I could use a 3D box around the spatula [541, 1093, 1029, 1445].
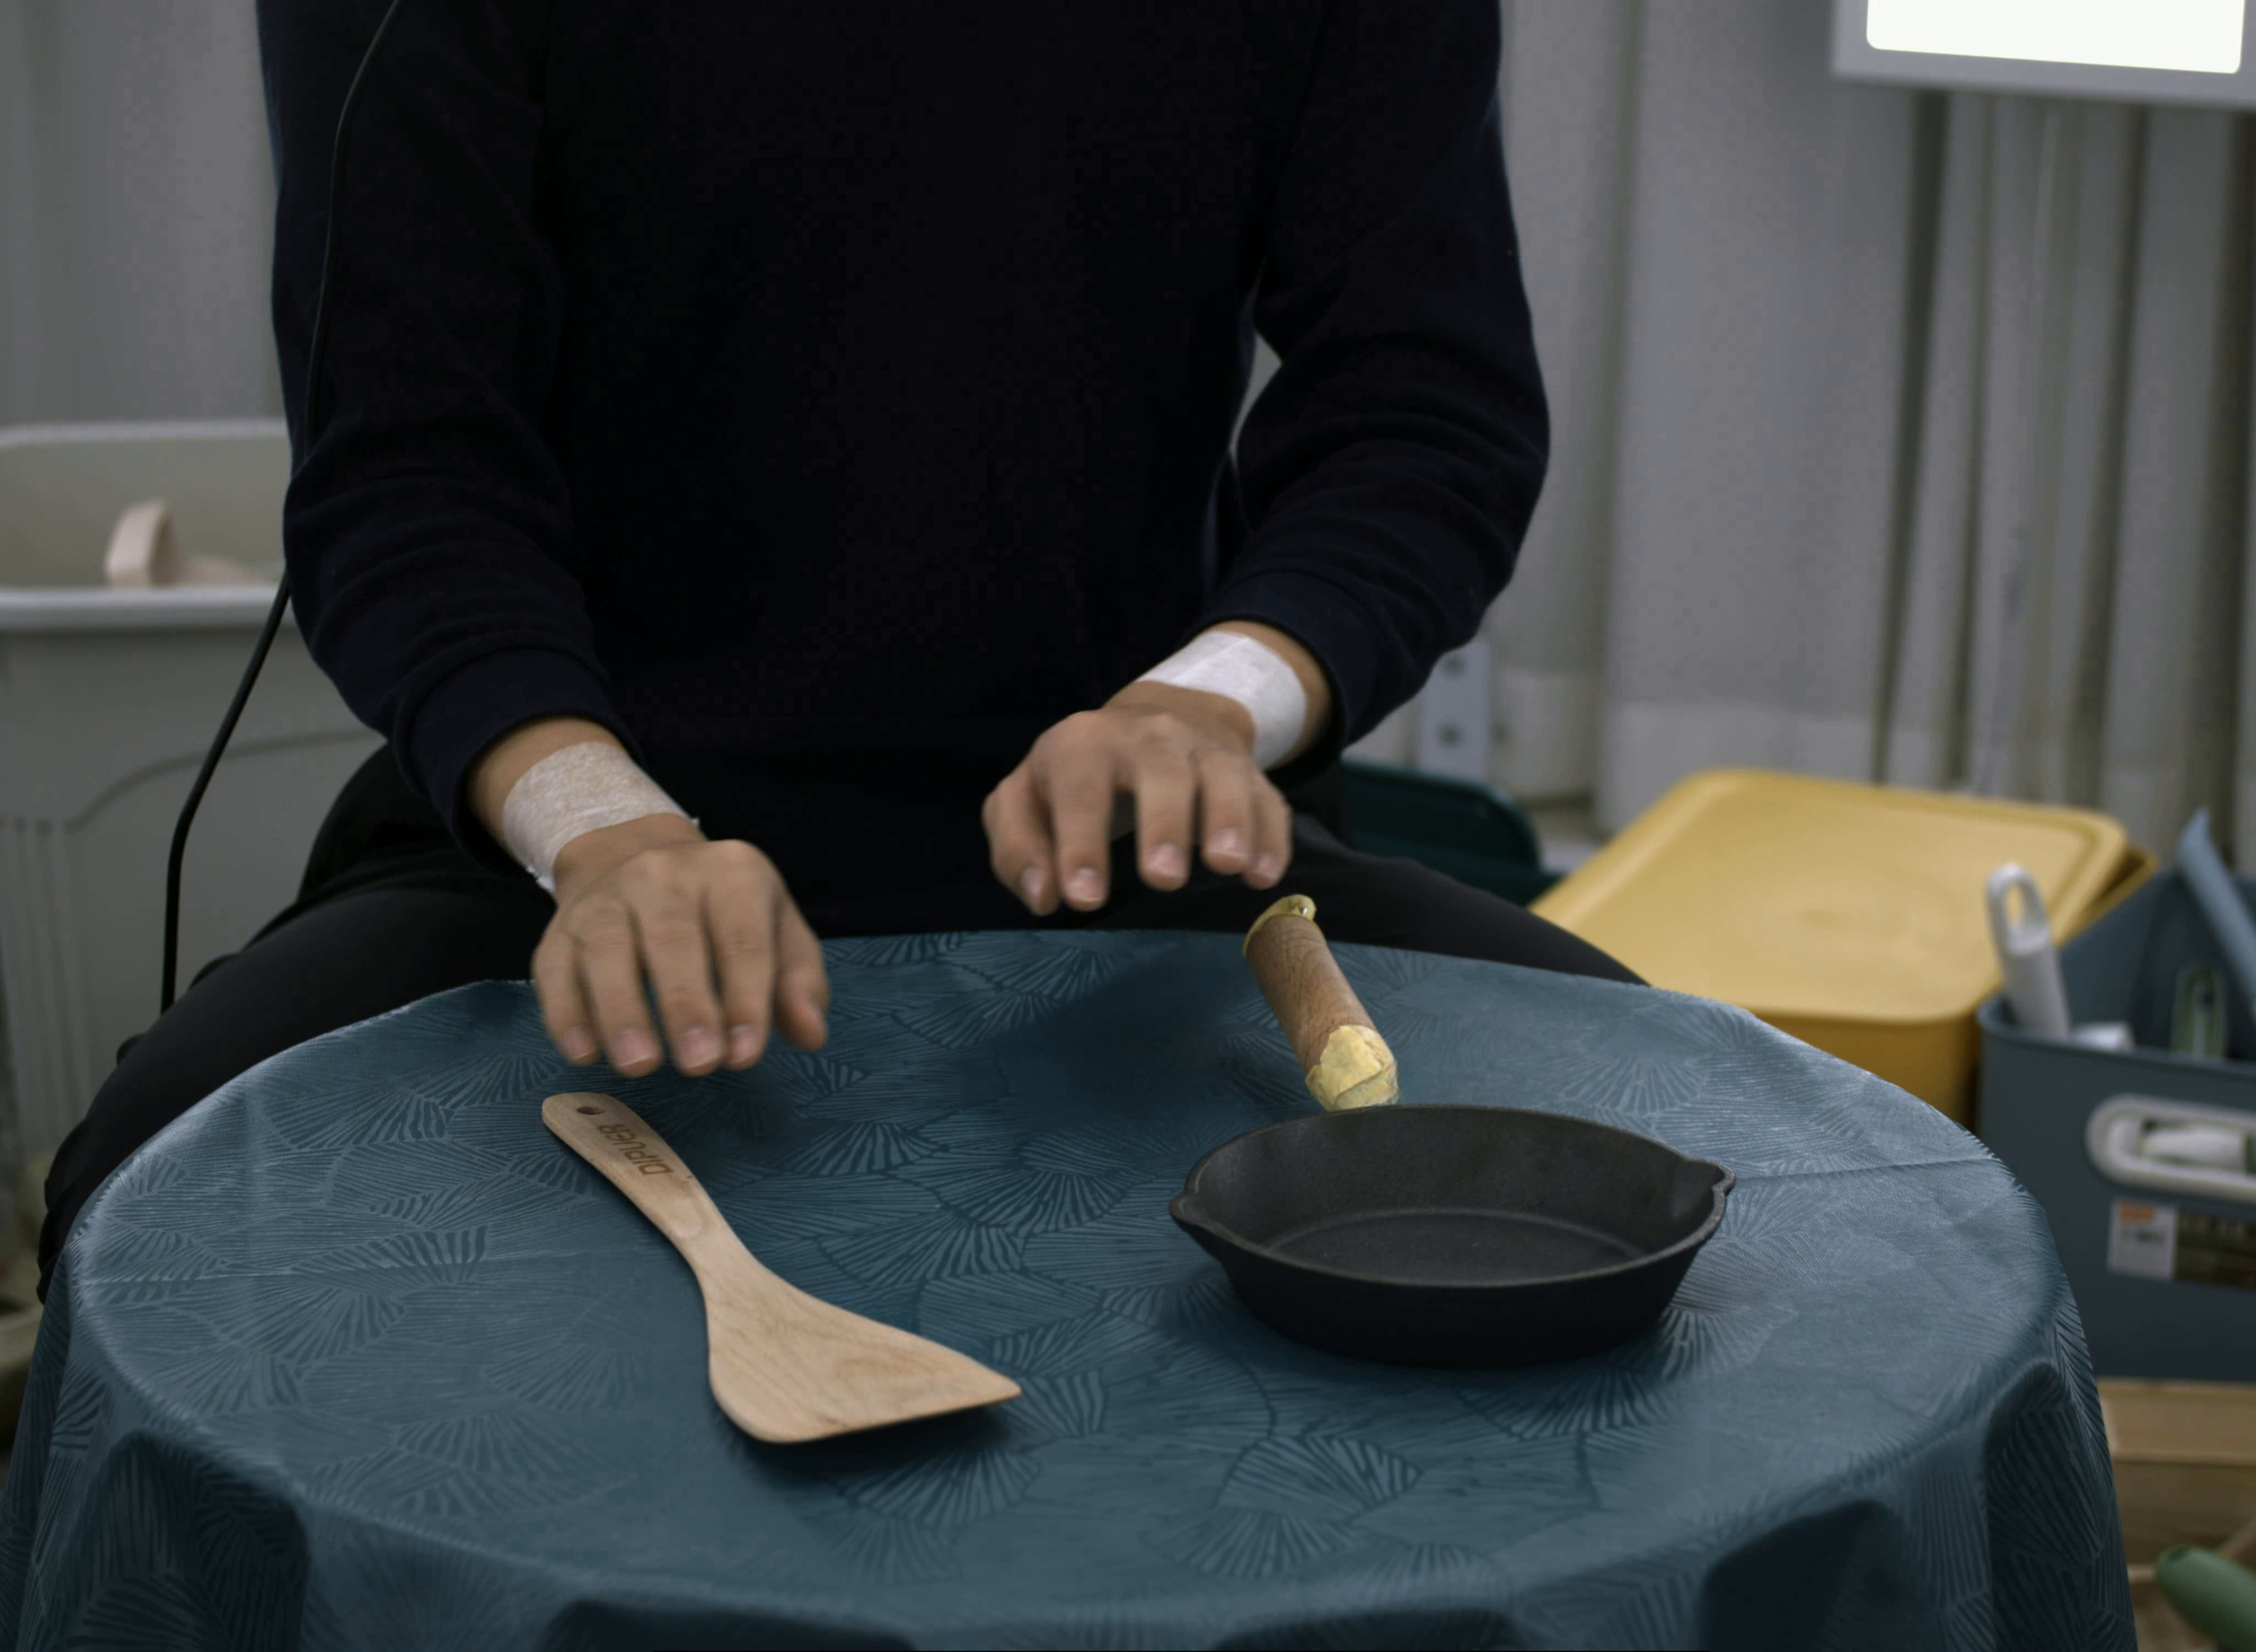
[{"bbox_3d":[-0.117,0.125,1.544,0.080,0.016,0.324,-5,17,-22],"label":"spatula"}]

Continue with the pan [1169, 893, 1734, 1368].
[{"bbox_3d":[0.080,0.089,1.612,0.169,0.050,0.321,-2,17,-10],"label":"pan"}]
